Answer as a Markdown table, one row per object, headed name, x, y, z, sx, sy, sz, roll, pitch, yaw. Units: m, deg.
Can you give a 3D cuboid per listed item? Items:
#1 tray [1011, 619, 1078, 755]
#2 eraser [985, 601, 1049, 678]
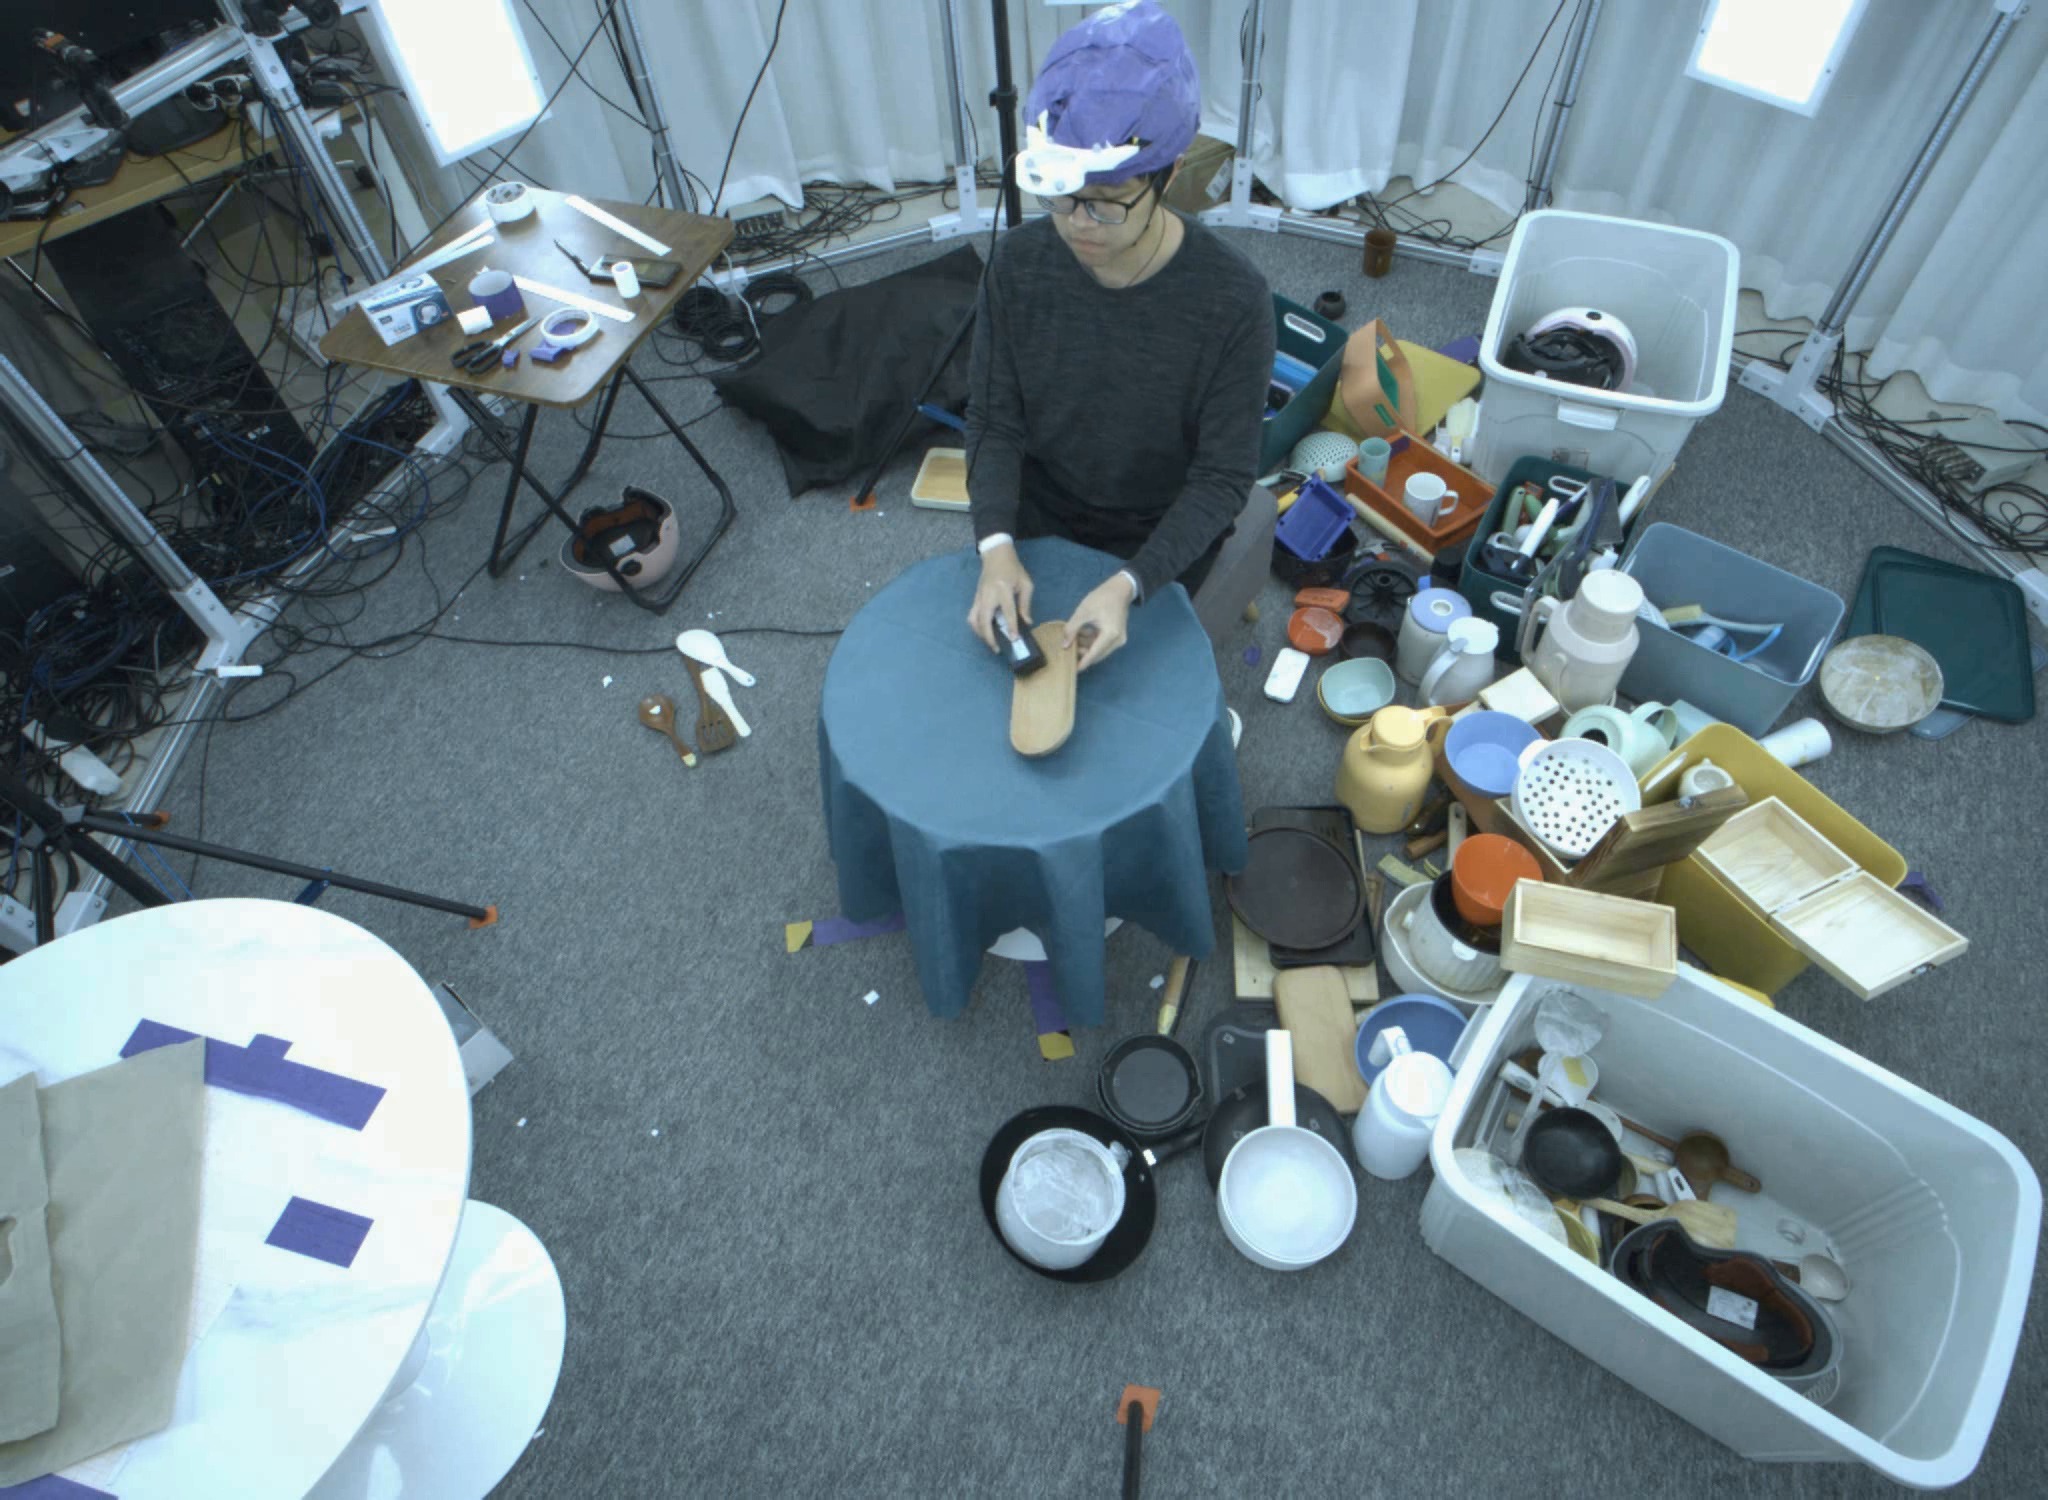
| name | x | y | z | sx | sy | sz | roll | pitch | yaw |
| --- | --- | --- | --- | --- | --- | --- | --- | --- | --- |
| tray | 0.031 | -0.094 | 1.798 | 0.100 | 0.021 | 0.229 | -12 | 54 | 25 |
| eraser | -0.011 | -0.166 | 1.840 | 0.053 | 0.031 | 0.123 | -30 | 56 | 1 |
